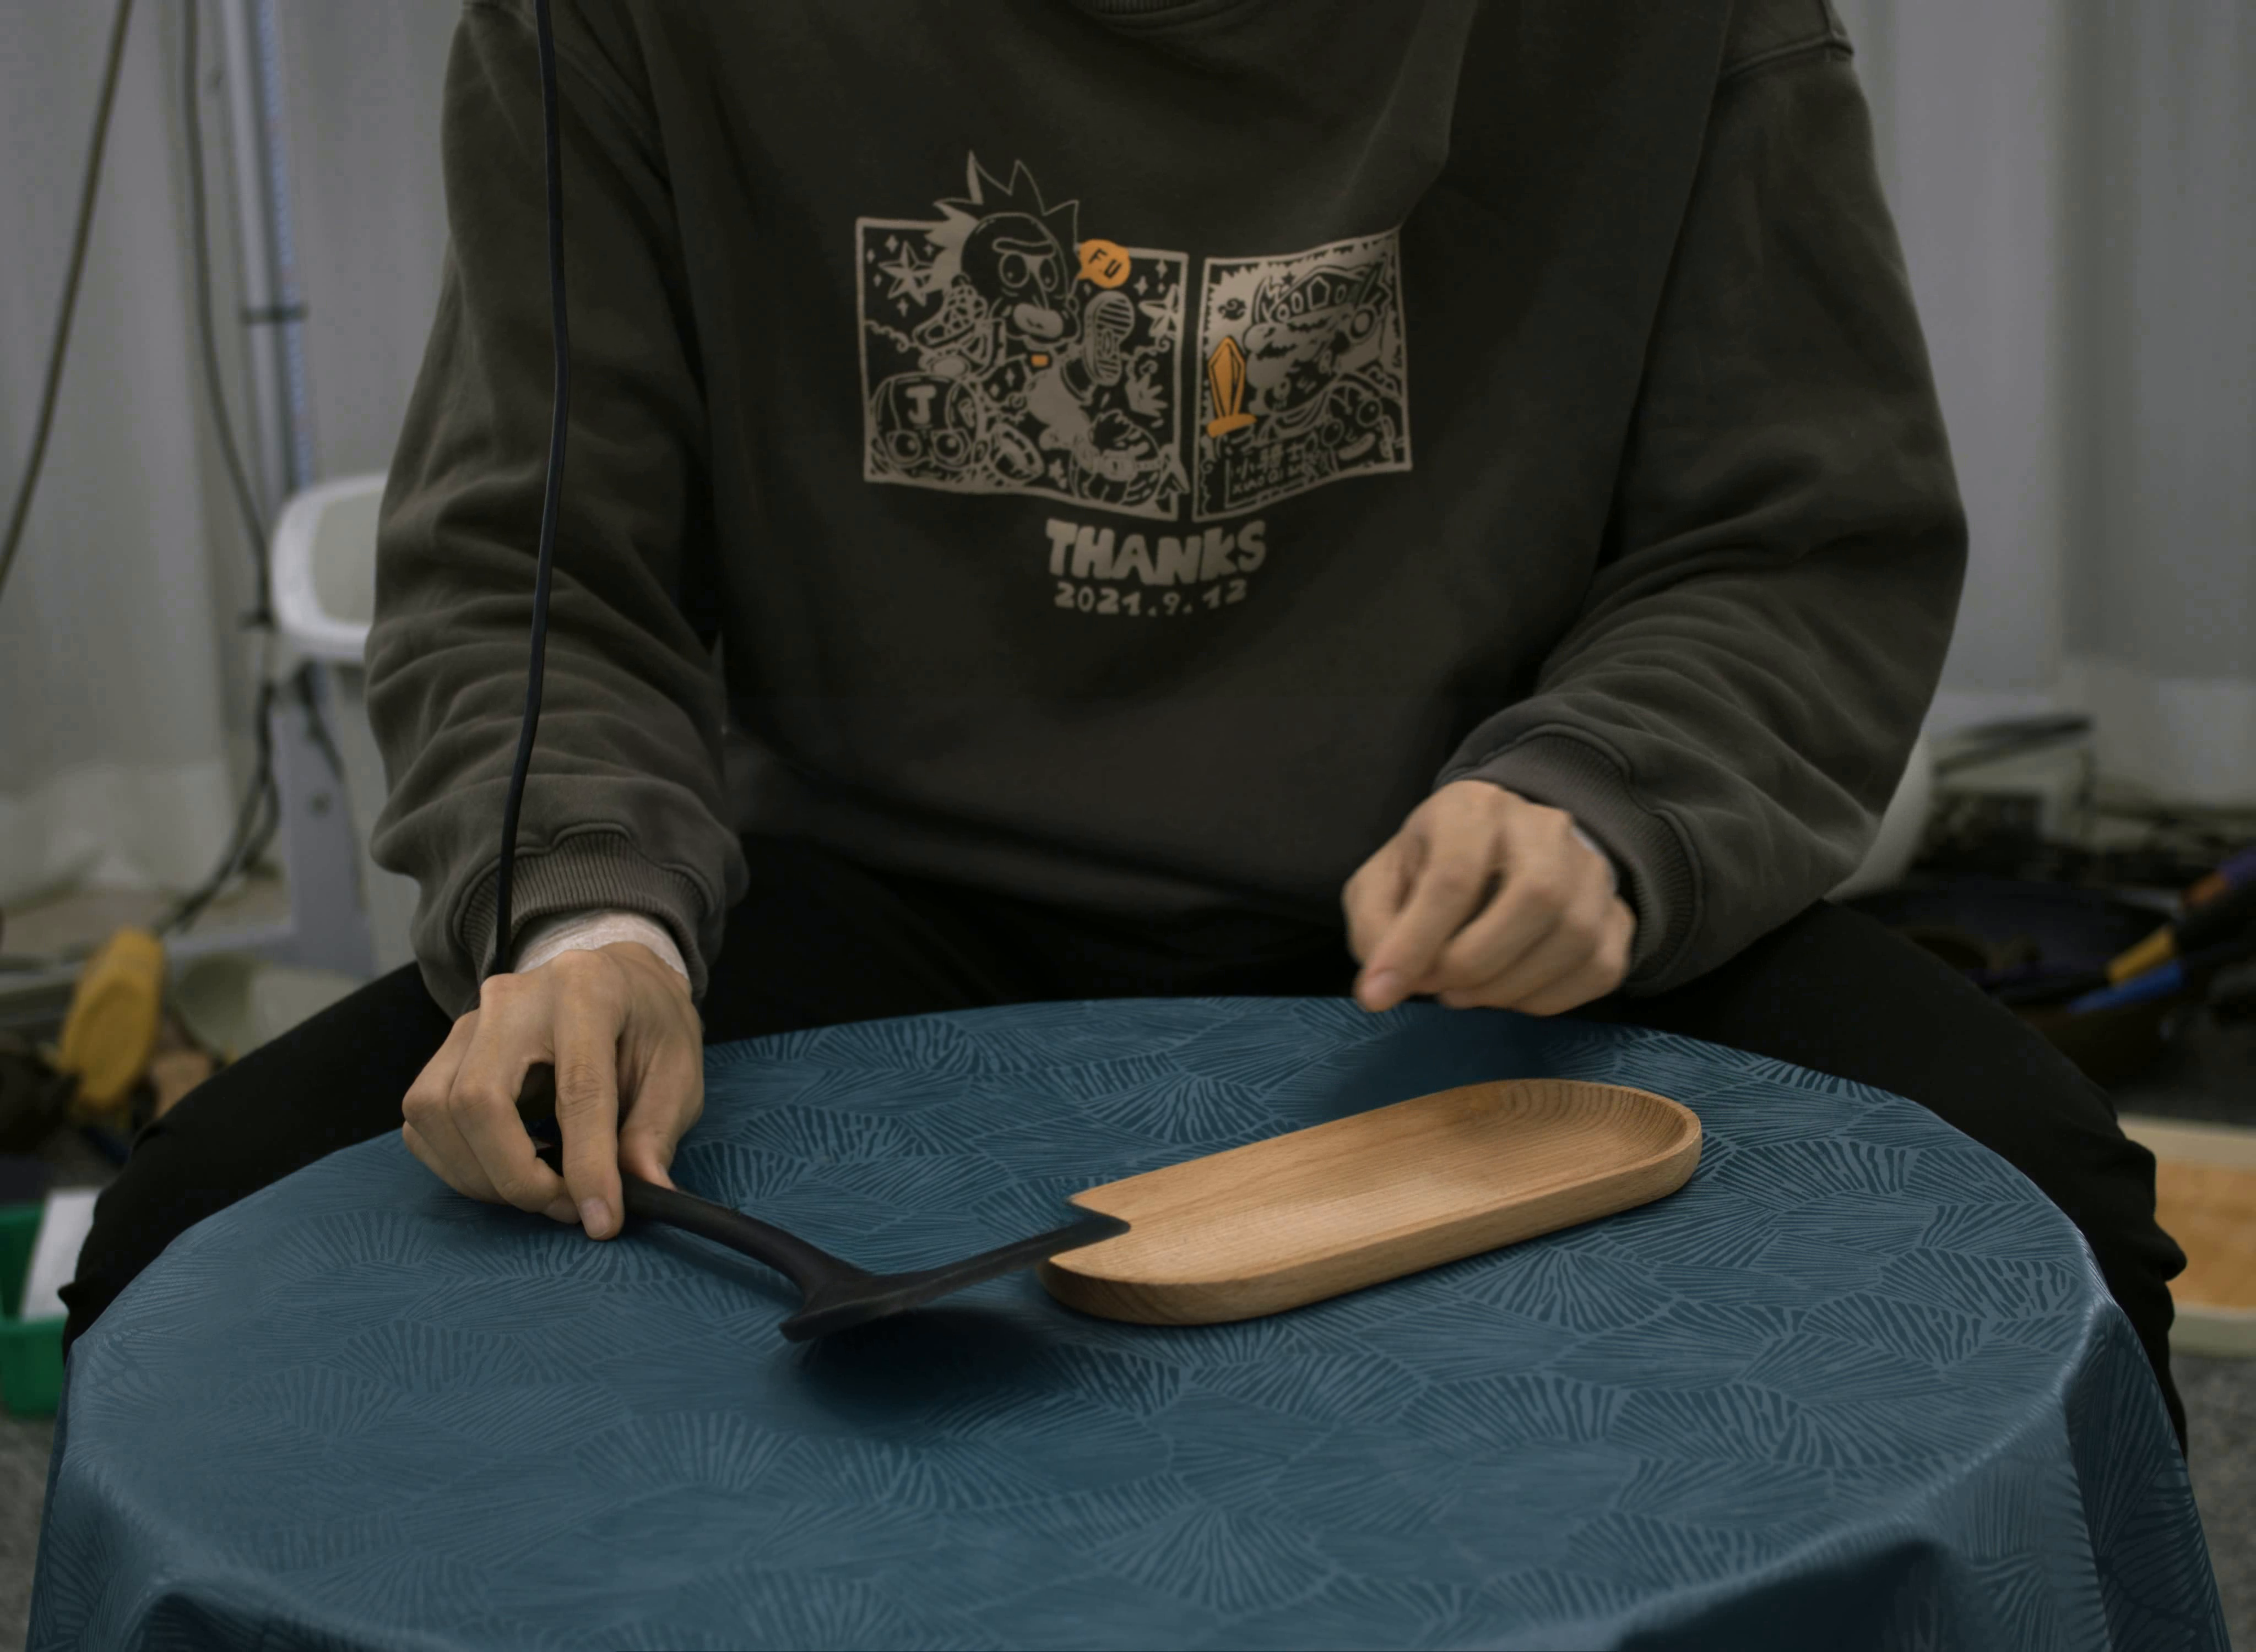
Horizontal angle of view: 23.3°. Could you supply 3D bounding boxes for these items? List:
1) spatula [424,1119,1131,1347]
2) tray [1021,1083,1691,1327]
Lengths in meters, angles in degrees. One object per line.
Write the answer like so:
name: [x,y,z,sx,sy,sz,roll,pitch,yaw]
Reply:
spatula: [-0.129,0.115,1.674,0.099,0.040,0.328,-14,19,-35]
tray: [0.072,0.115,1.675,0.230,0.020,0.102,-14,18,-32]
